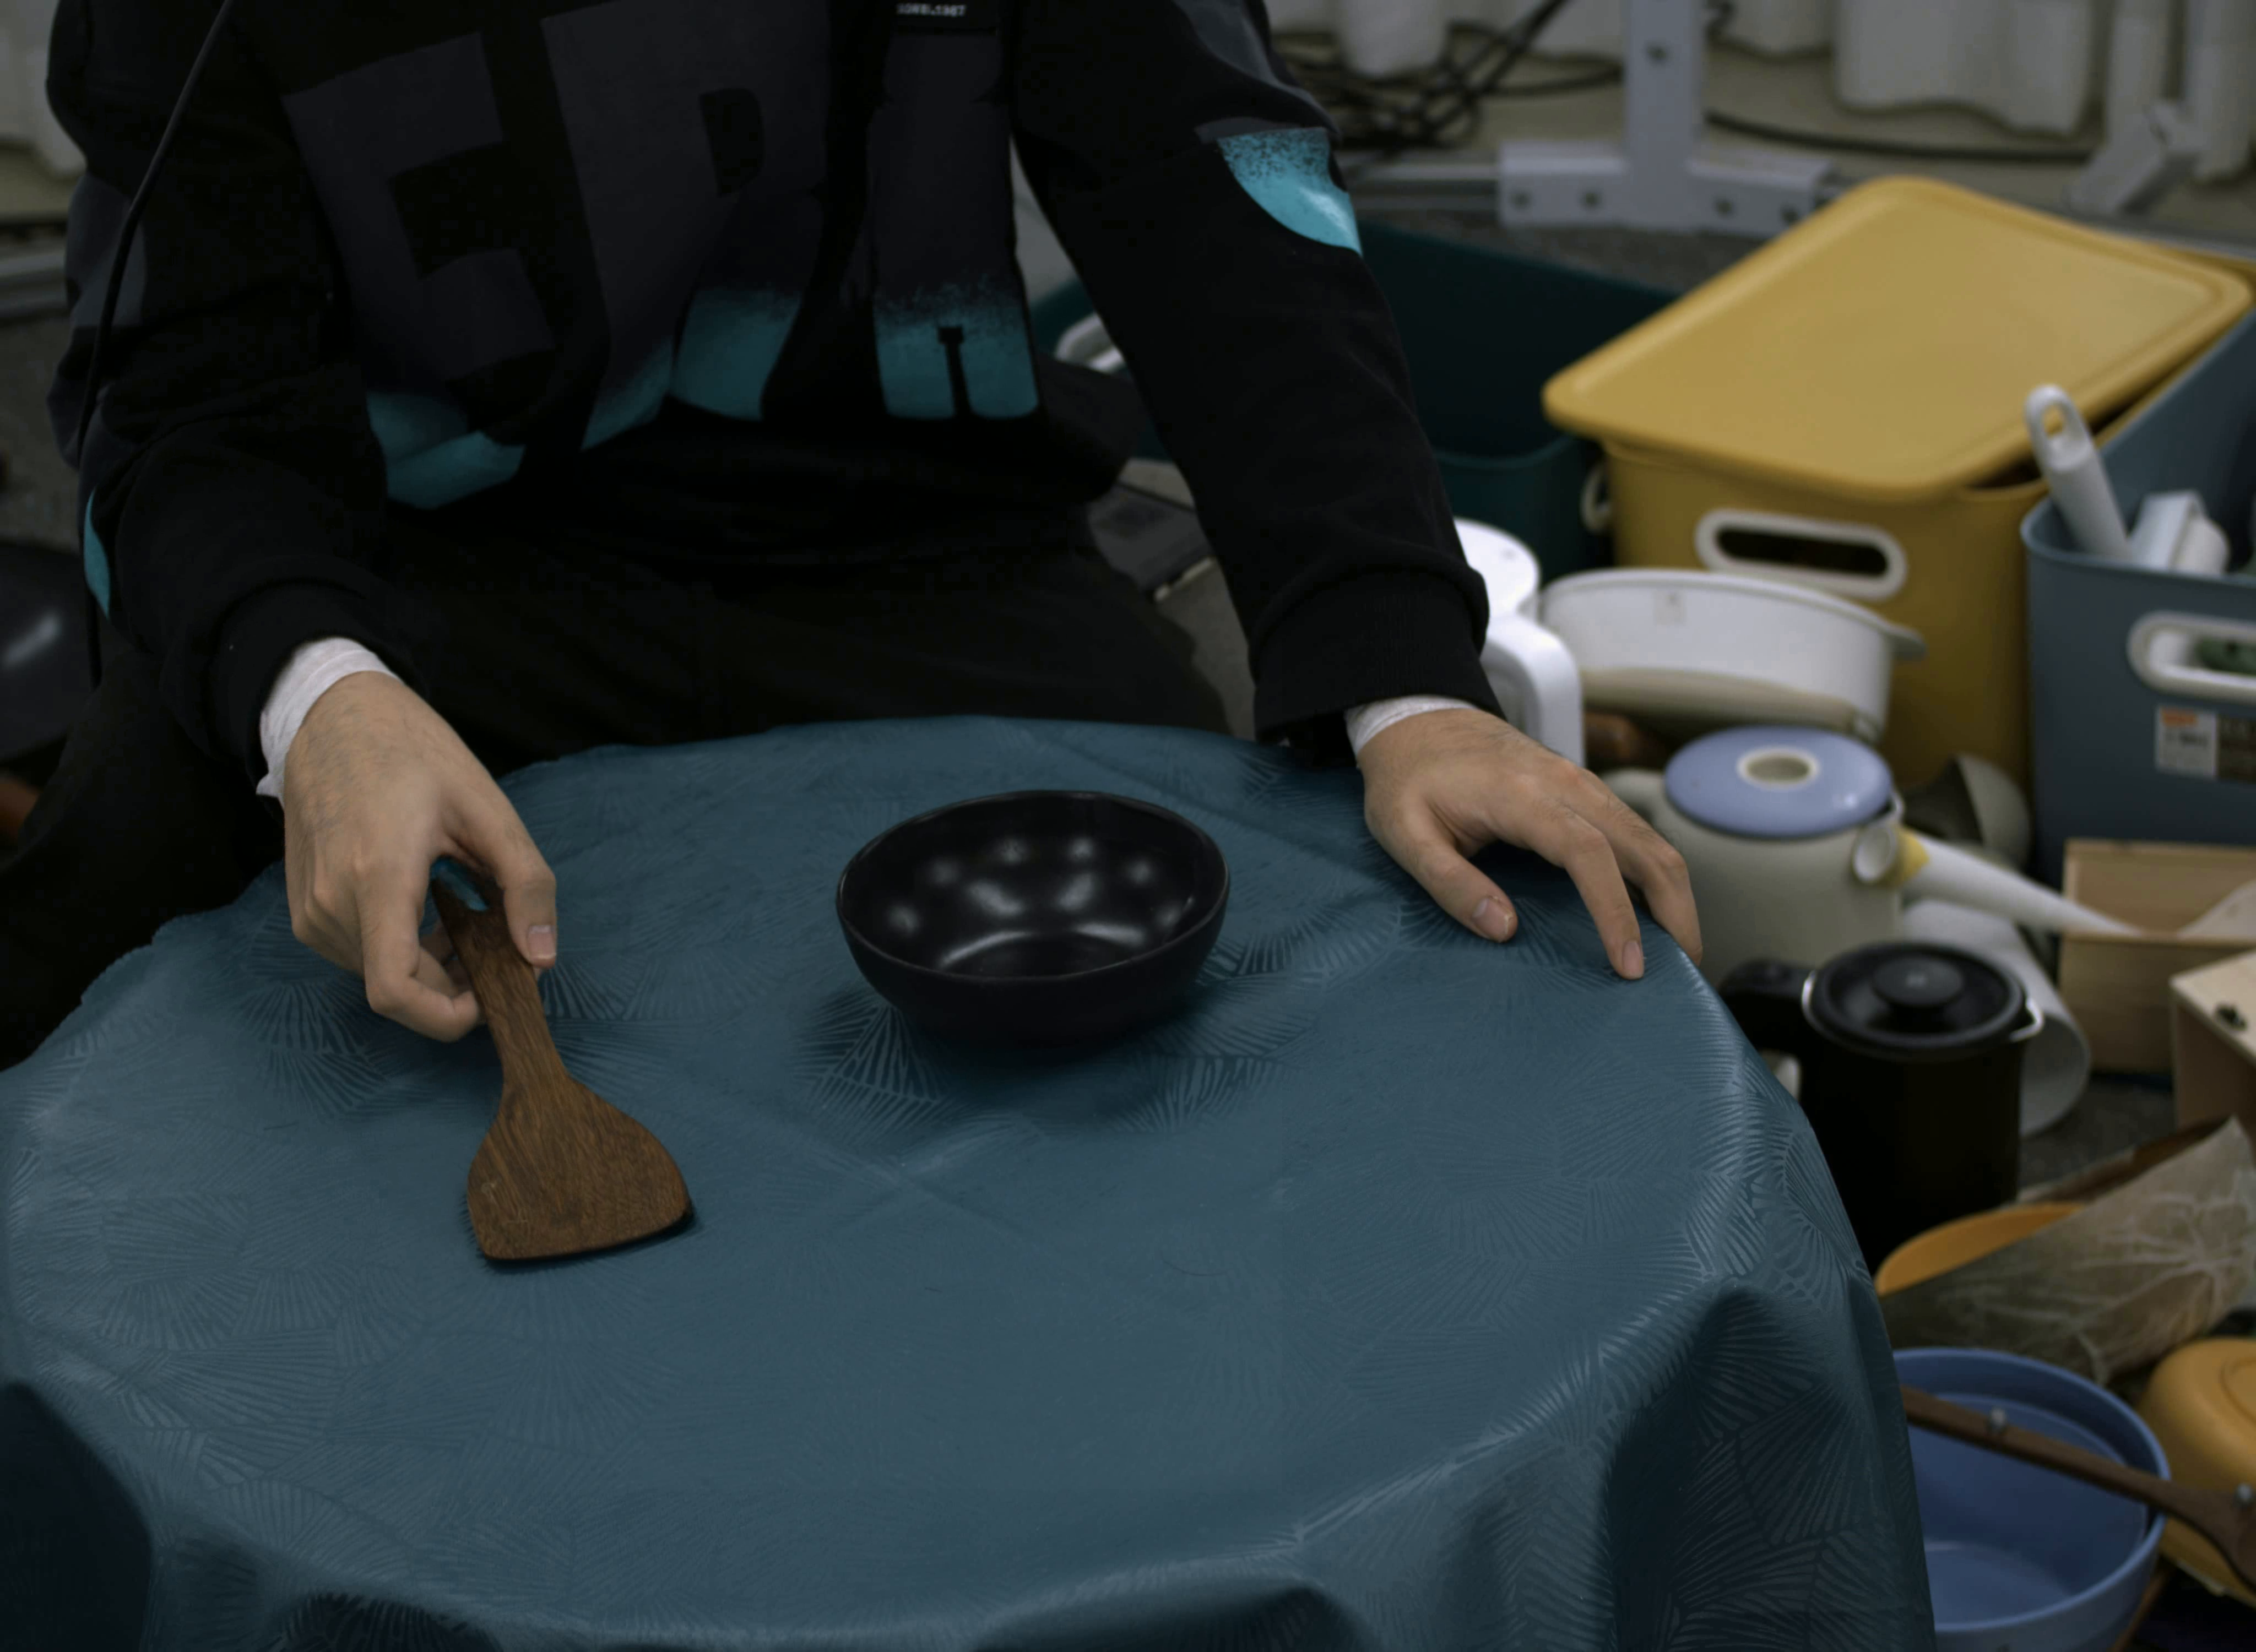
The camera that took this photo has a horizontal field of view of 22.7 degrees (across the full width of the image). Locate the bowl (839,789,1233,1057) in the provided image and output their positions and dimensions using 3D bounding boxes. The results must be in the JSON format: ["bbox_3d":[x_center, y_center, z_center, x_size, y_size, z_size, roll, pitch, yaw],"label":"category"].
[{"bbox_3d":[-0.030,0.042,1.967,0.139,0.049,0.142,-4,28,3],"label":"bowl"}]

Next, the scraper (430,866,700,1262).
[{"bbox_3d":[-0.205,0.080,1.920,0.076,0.010,0.214,-9,39,-15],"label":"scraper"}]
